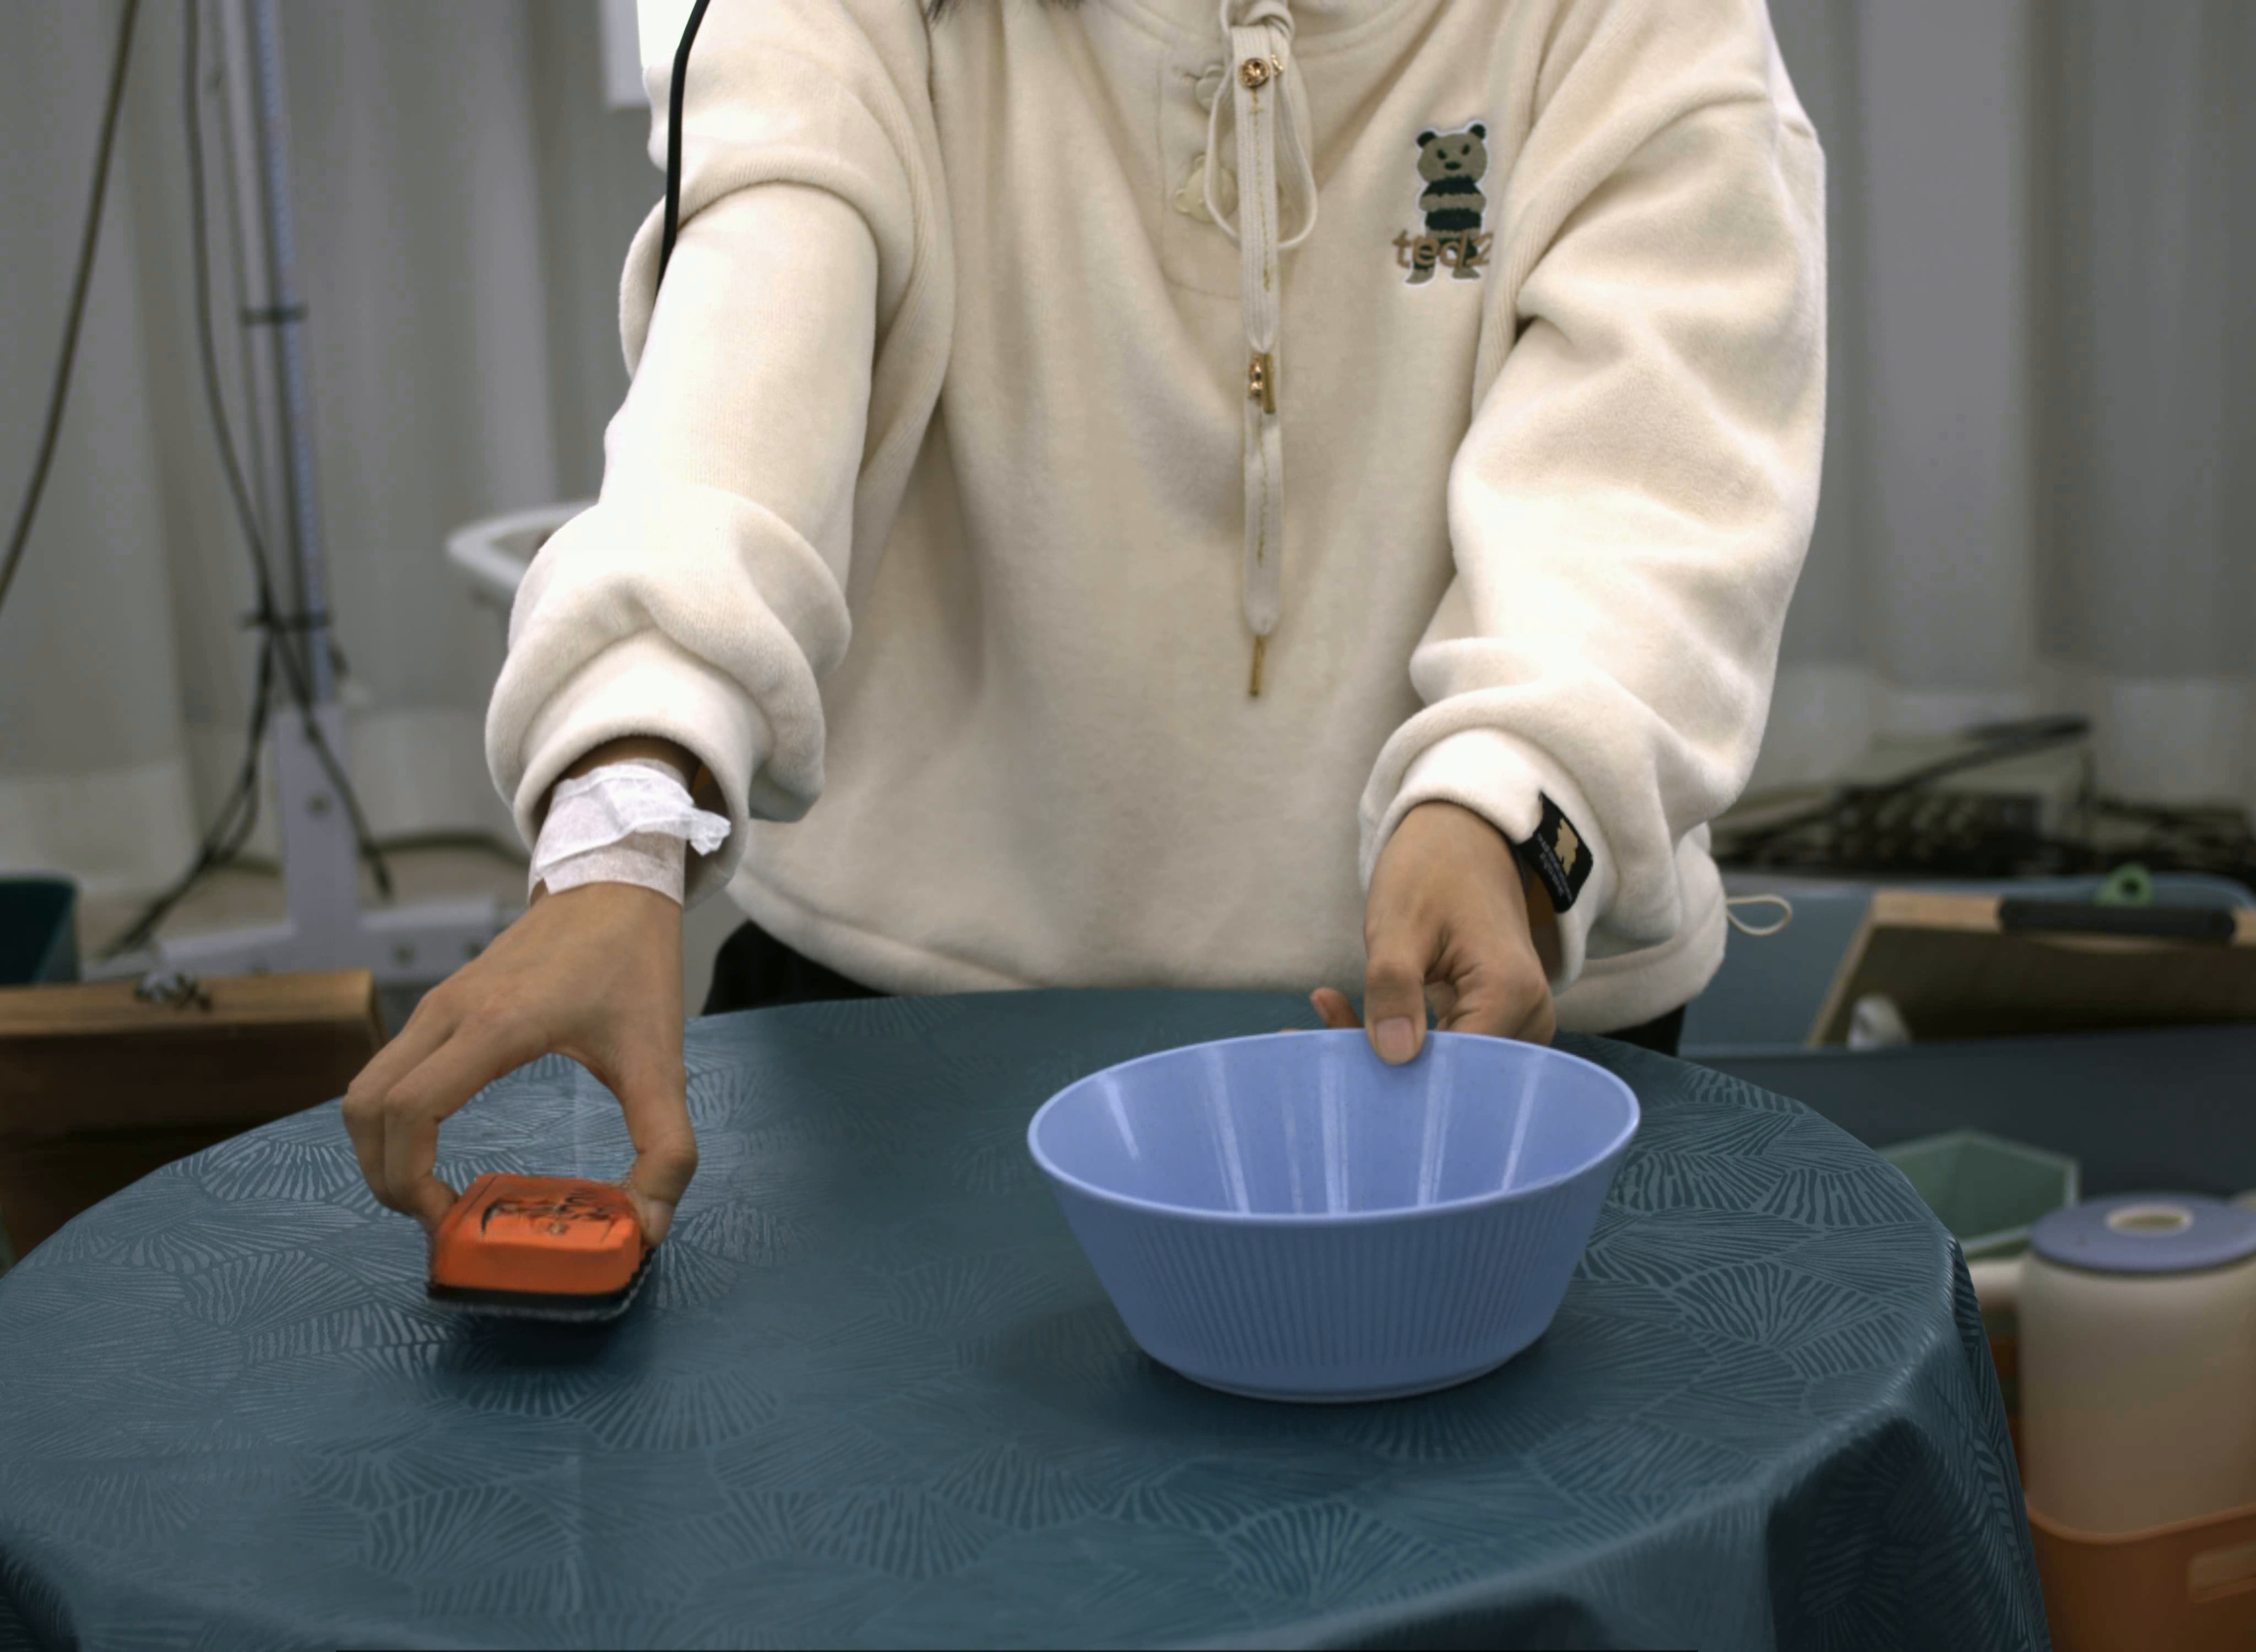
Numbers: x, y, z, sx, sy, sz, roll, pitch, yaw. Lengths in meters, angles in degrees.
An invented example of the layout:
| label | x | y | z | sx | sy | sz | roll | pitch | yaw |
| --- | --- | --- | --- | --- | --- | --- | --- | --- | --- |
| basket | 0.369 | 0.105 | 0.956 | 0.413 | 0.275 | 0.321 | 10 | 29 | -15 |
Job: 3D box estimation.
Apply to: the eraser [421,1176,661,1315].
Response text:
| label | x | y | z | sx | sy | sz | roll | pitch | yaw |
| --- | --- | --- | --- | --- | --- | --- | --- | --- | --- |
| eraser | -0.173 | 0.124 | 1.628 | 0.059 | 0.023 | 0.108 | 2 | 5 | 3 |

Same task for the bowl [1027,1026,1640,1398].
| label | x | y | z | sx | sy | sz | roll | pitch | yaw |
| --- | --- | --- | --- | --- | --- | --- | --- | --- | --- |
| bowl | 0.060 | 0.113 | 1.568 | 0.175 | 0.070 | 0.177 | -3 | 14 | 1 |
